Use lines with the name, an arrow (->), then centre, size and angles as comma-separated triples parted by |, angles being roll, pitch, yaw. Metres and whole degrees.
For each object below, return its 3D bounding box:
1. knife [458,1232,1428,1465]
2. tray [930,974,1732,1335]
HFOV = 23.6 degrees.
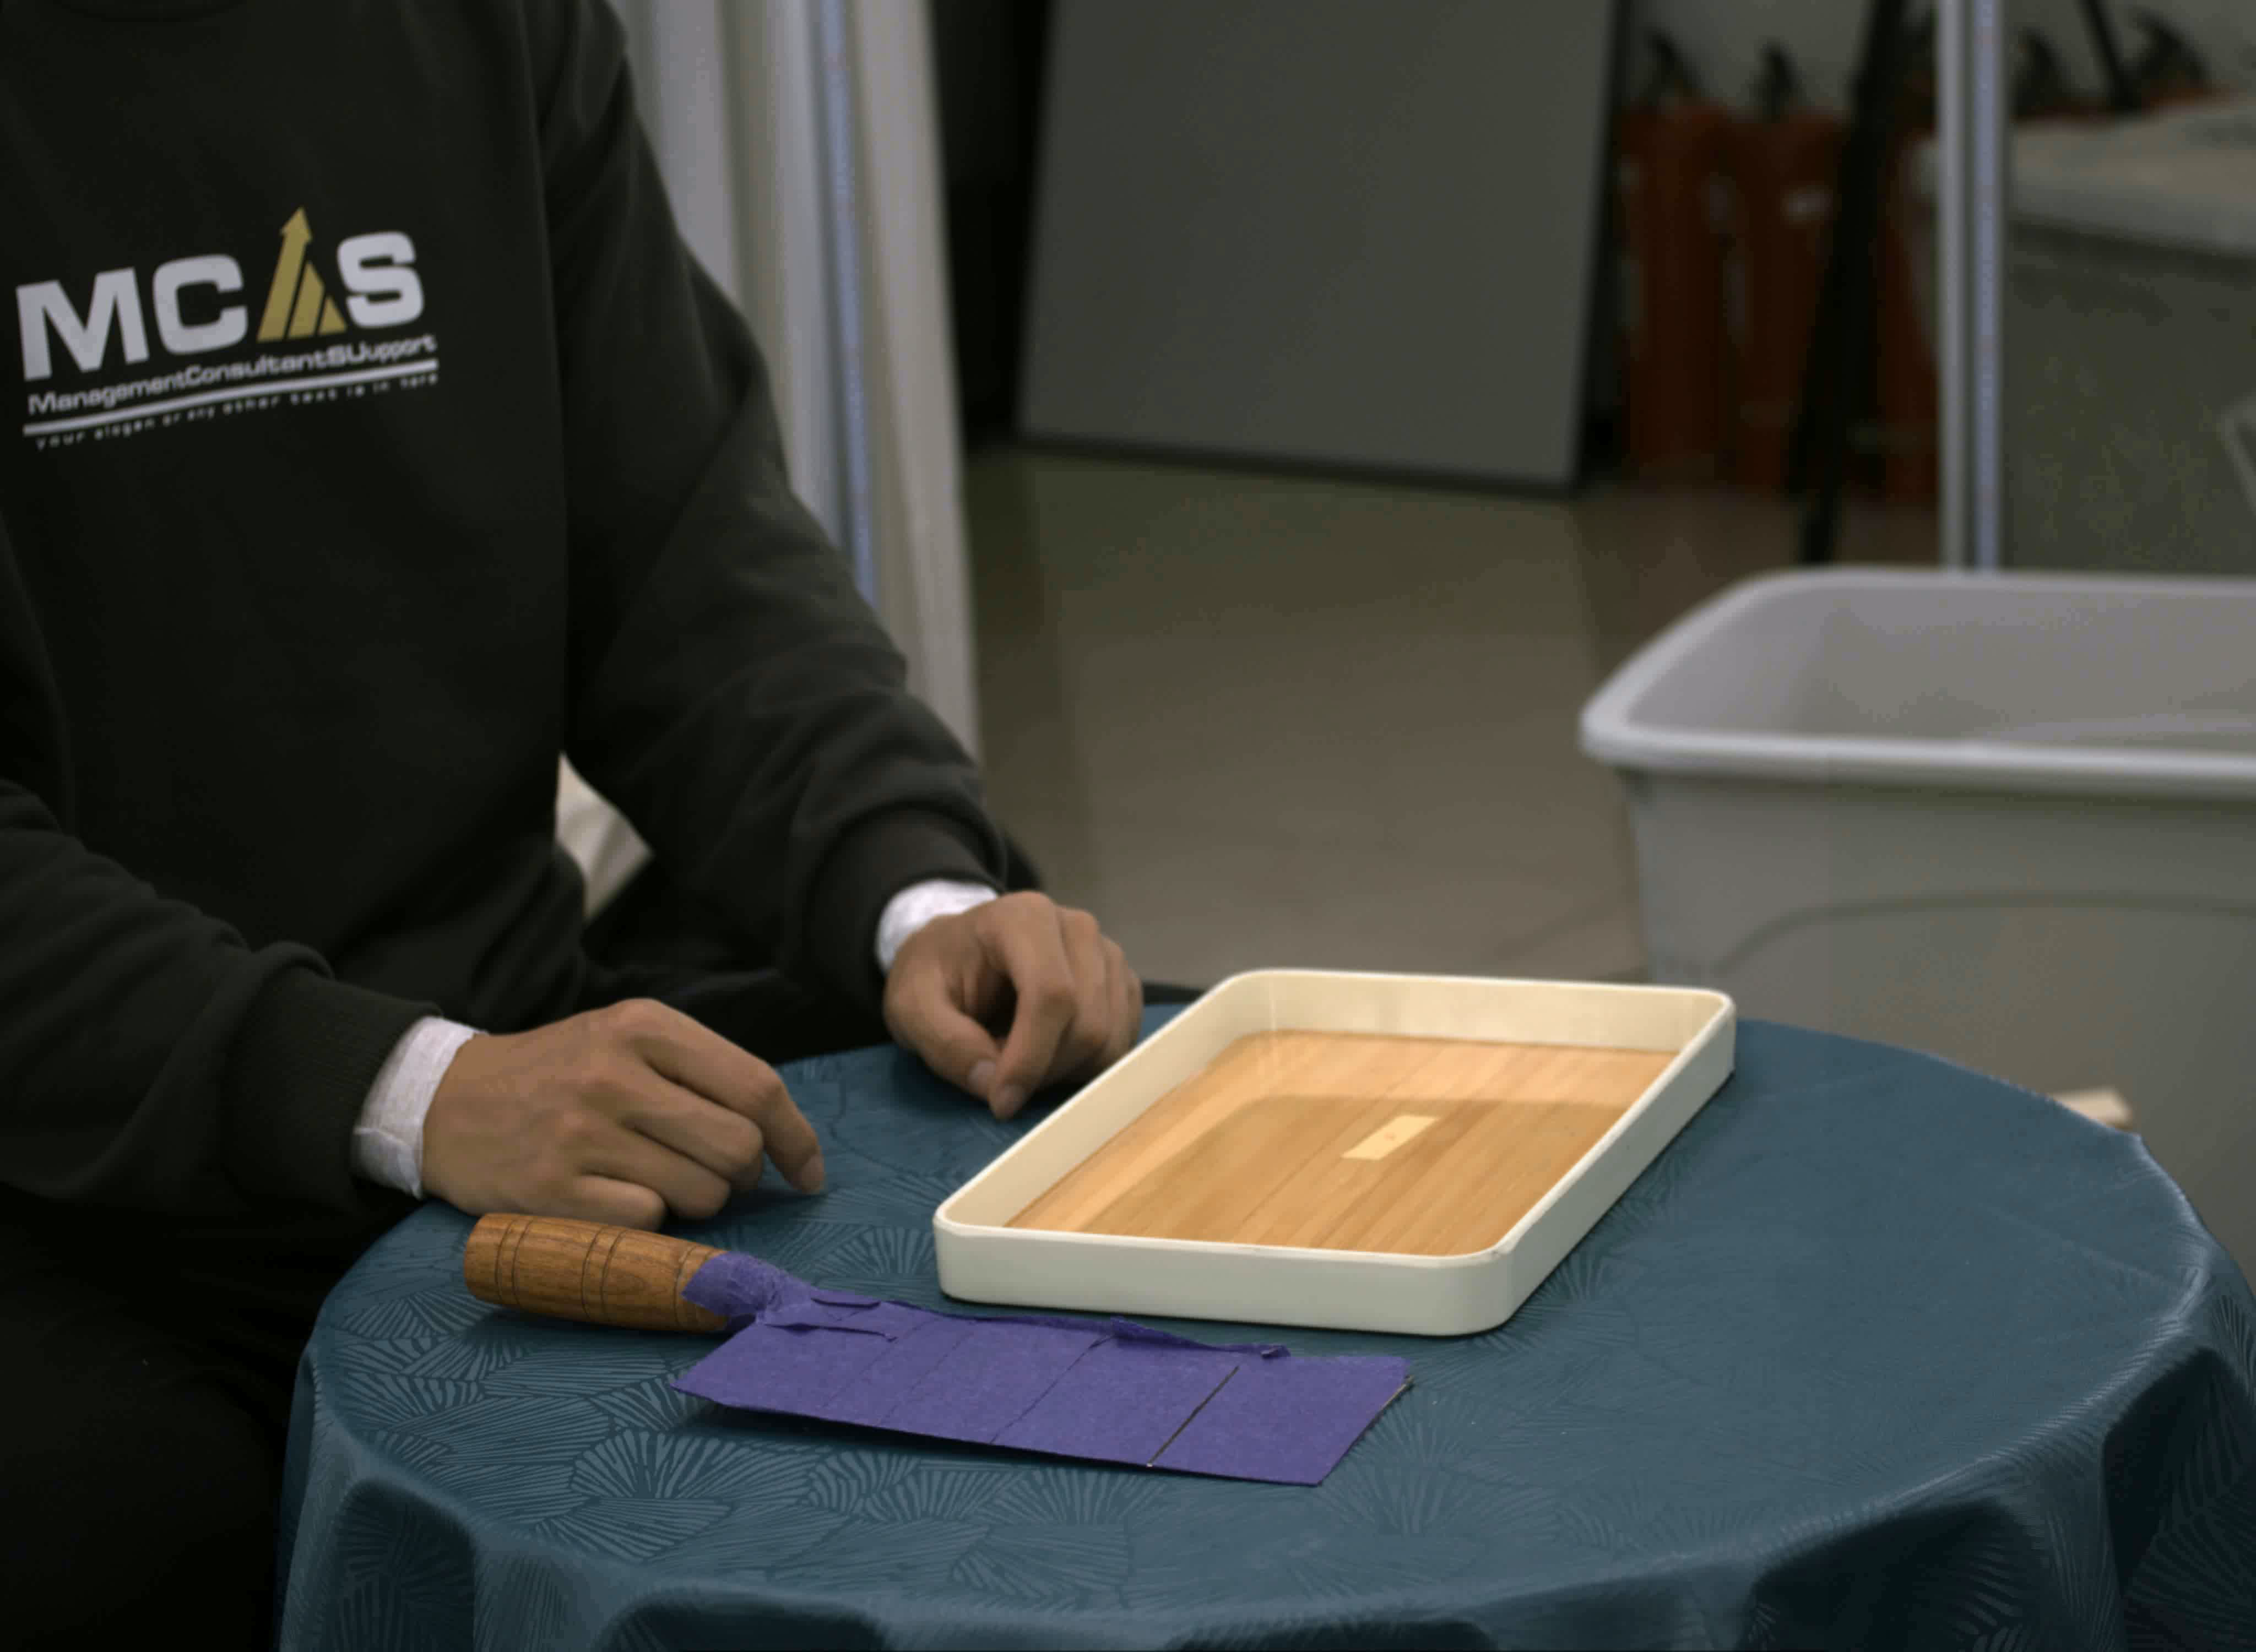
knife -> -0.071, 0.154, 1.600 | 0.315, 0.032, 0.102 | 2, 14, 24
tray -> 0.074, 0.103, 1.770 | 0.191, 0.028, 0.297 | 1, 14, 22
